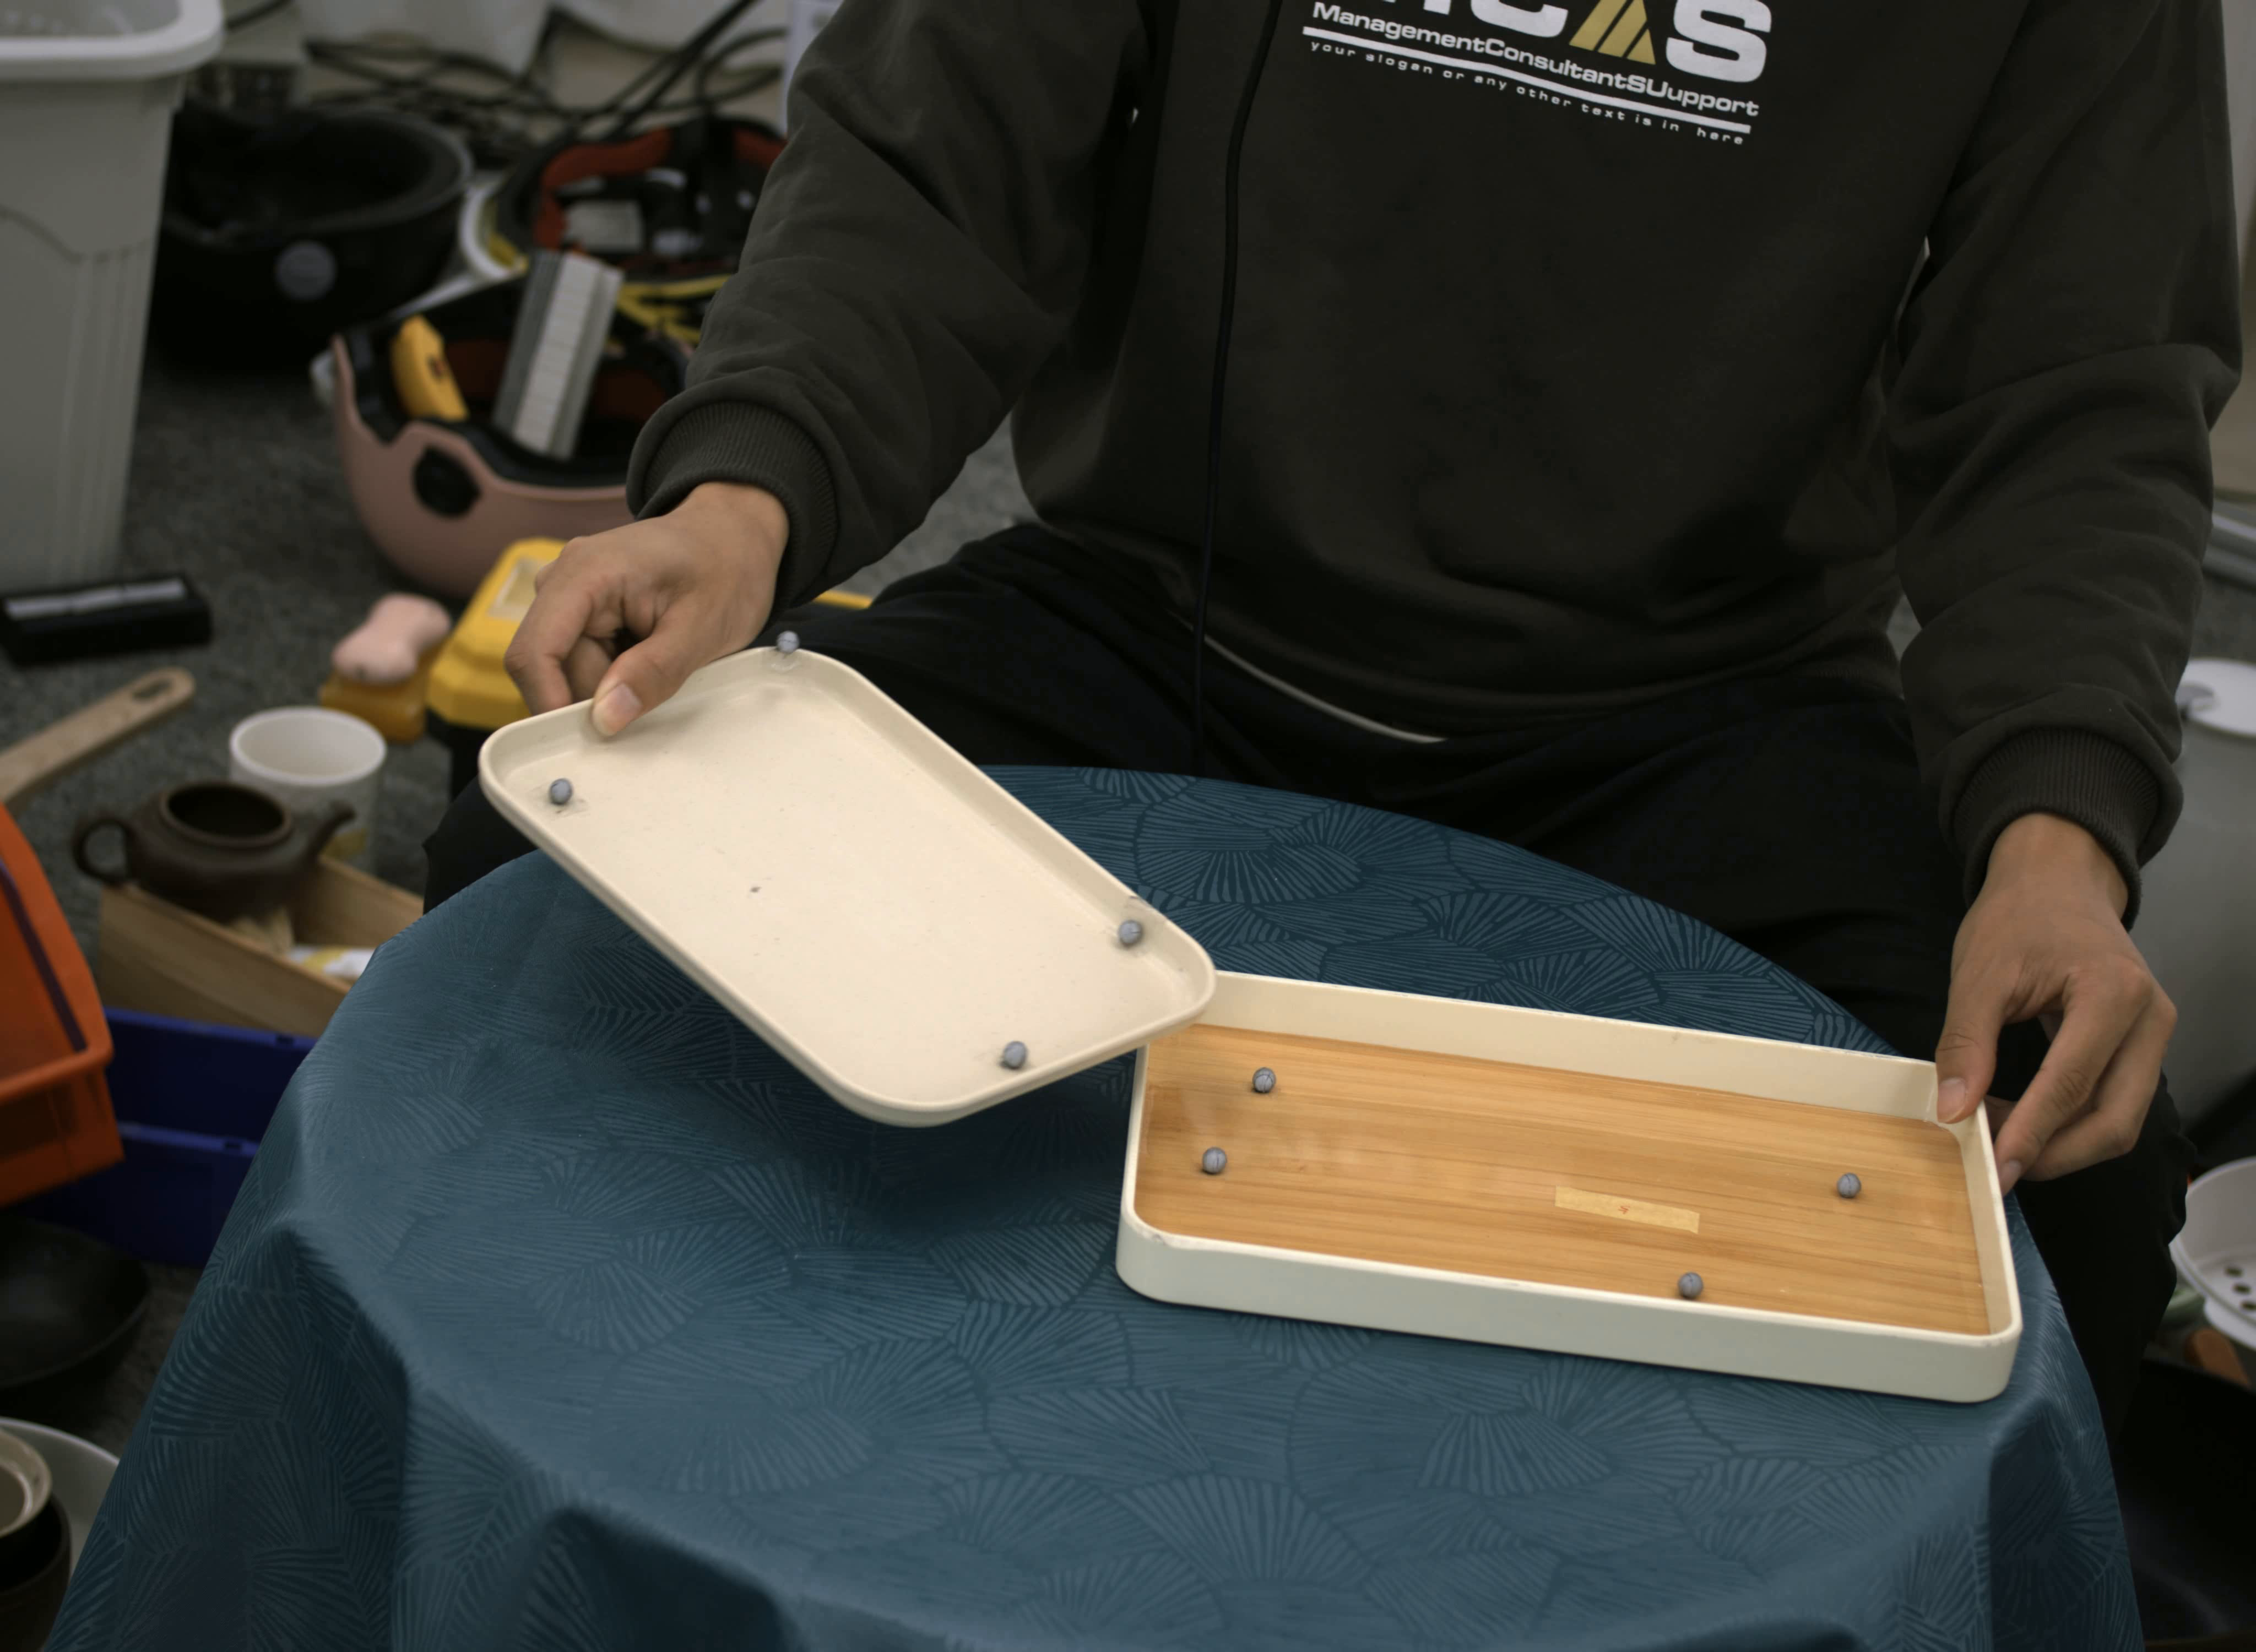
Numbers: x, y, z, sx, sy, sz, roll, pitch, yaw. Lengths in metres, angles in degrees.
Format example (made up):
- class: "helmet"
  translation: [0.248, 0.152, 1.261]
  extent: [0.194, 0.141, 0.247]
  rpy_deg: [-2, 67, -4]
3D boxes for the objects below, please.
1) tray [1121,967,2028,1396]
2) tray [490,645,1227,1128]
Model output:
- class: "tray"
  translation: [0.150, 0.119, 1.821]
  extent: [0.299, 0.027, 0.192]
  rpy_deg: [7, 26, 0]
- class: "tray"
  translation: [-0.095, 0.019, 1.835]
  extent: [0.170, 0.017, 0.241]
  rpy_deg: [-20, 47, -41]
